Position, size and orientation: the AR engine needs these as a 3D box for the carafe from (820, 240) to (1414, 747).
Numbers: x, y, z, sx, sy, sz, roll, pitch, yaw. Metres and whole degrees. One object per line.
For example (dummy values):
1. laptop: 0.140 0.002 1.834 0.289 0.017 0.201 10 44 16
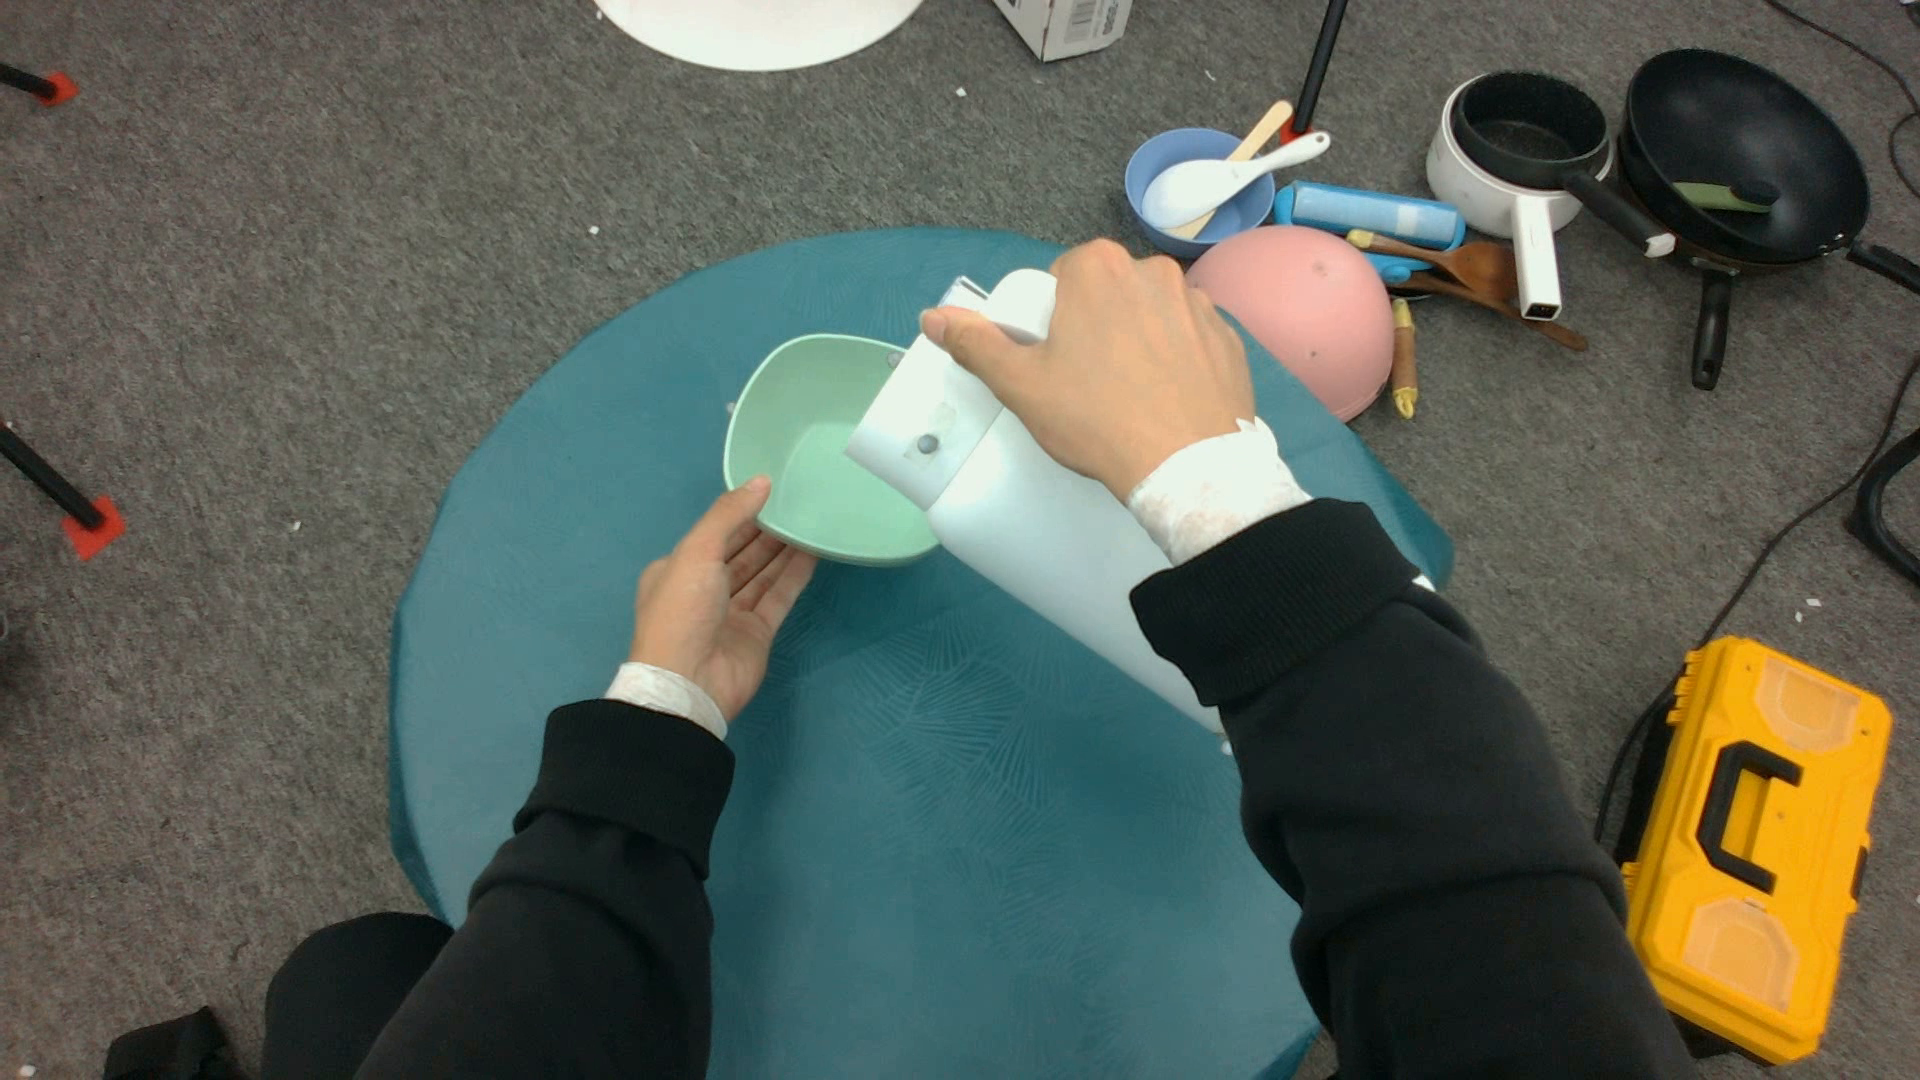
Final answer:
1. carafe: 0.078 -0.026 0.628 0.269 0.172 0.124 36 62 -5

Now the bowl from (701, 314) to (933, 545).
1. bowl: -0.072 -0.053 0.774 0.151 0.058 0.152 4 62 -7
